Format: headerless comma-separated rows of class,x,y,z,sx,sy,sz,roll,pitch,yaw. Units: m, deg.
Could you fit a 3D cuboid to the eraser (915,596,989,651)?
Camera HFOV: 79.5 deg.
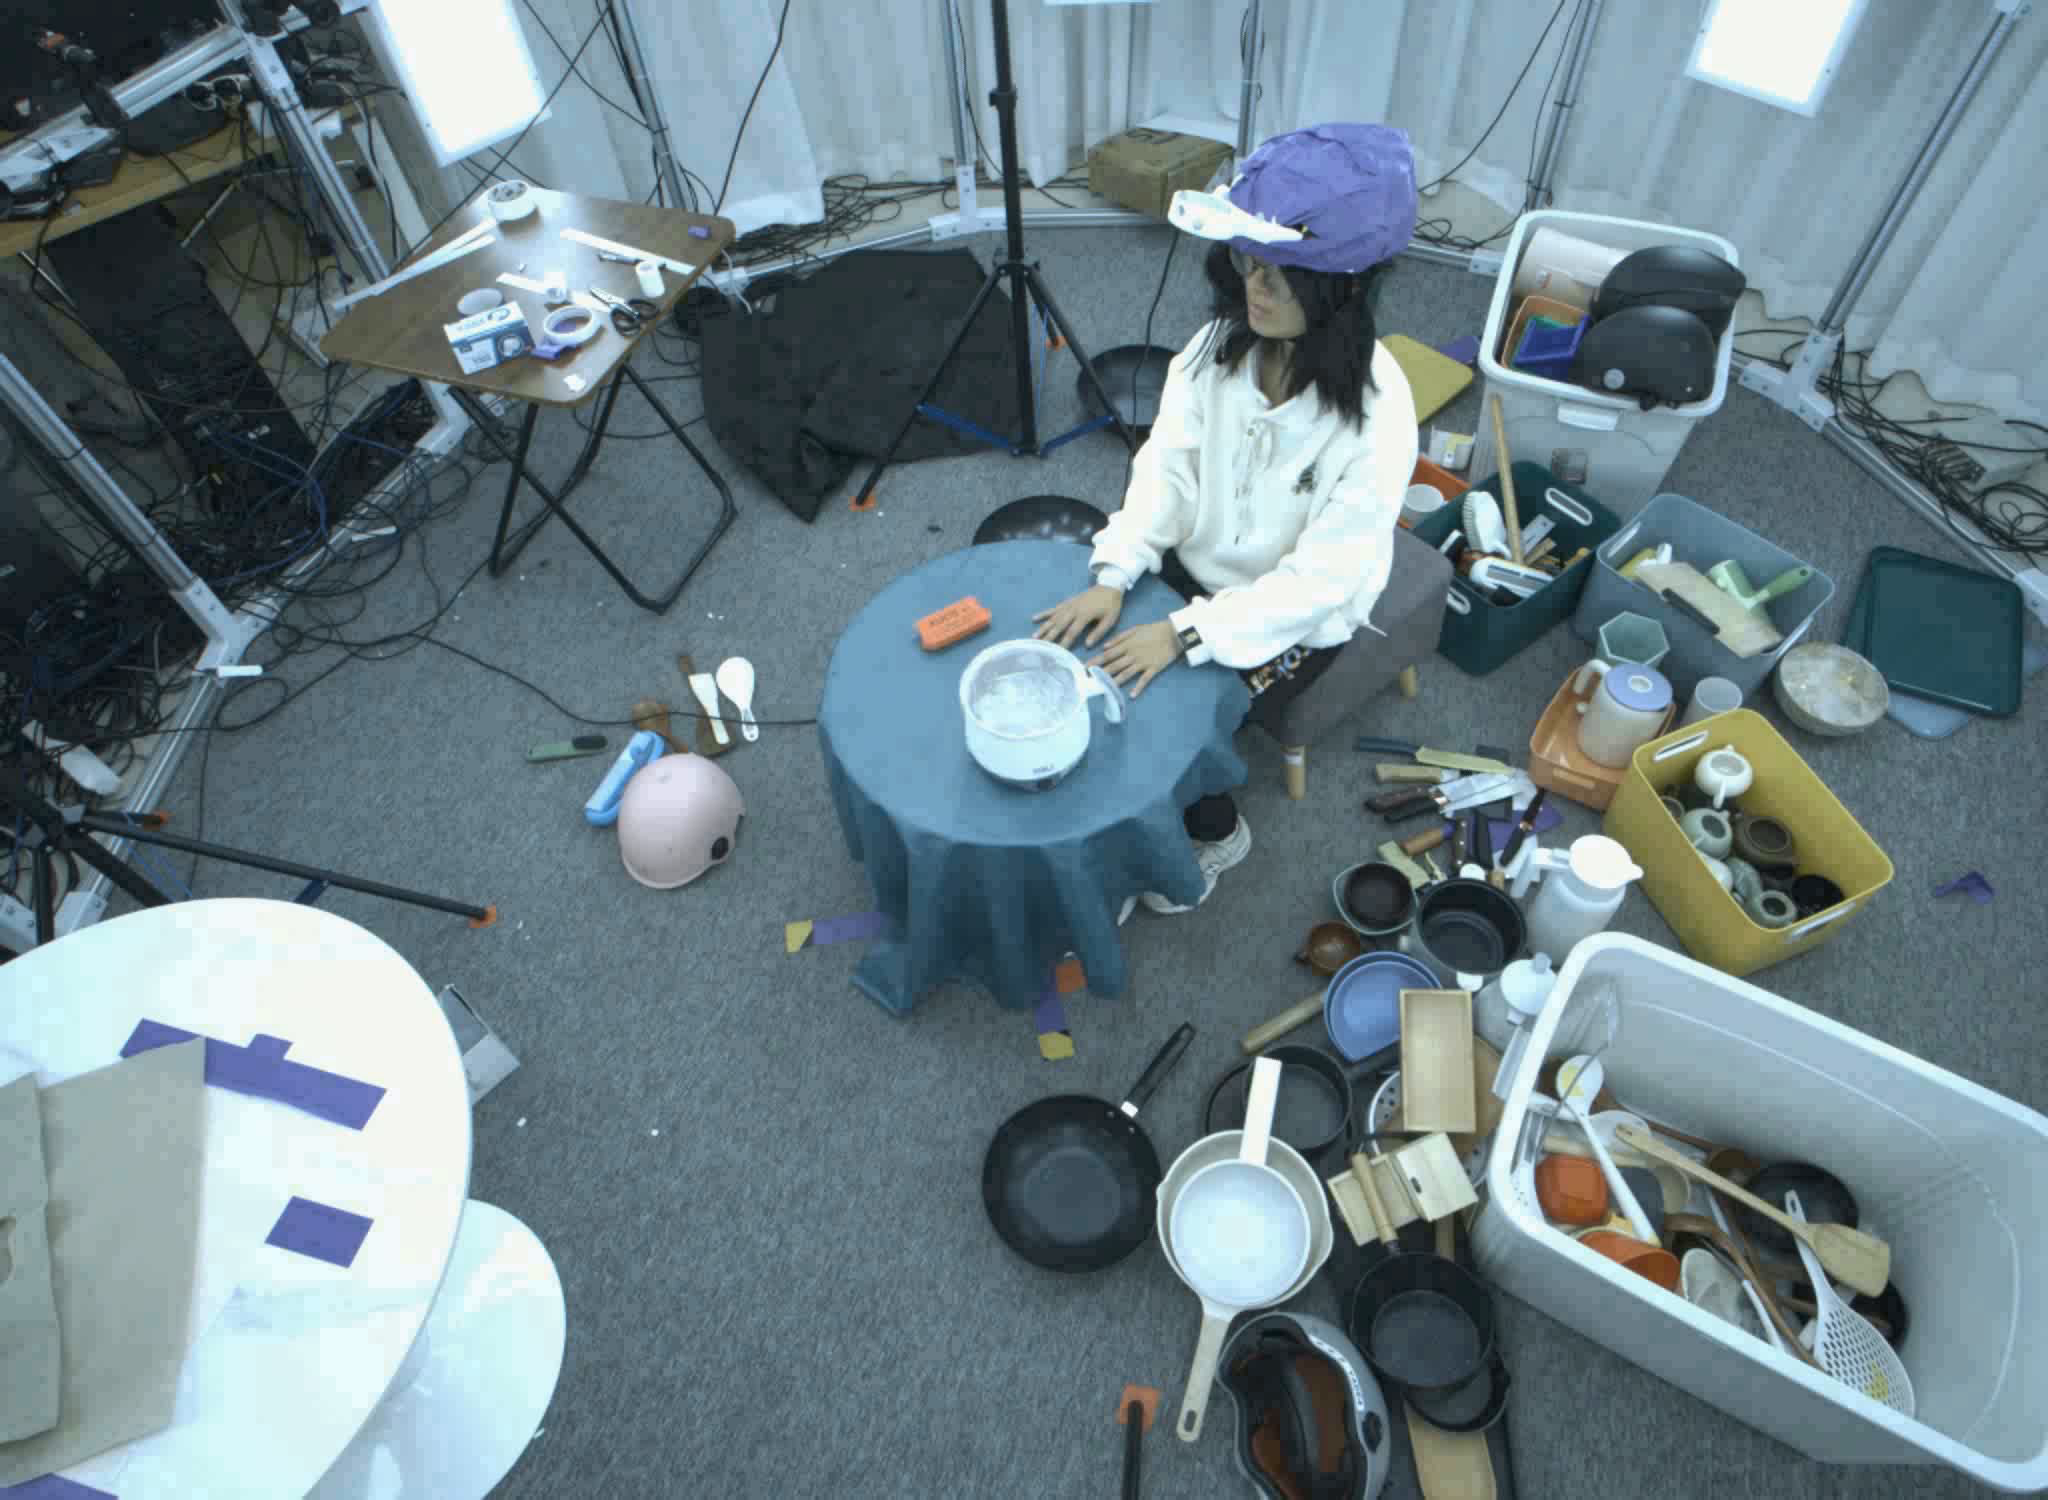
eraser,-0.113,-0.198,1.913,0.109,0.023,0.058,-27,58,-18

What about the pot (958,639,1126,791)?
pot,0.029,-0.056,1.740,0.235,0.138,0.176,-16,56,-7
